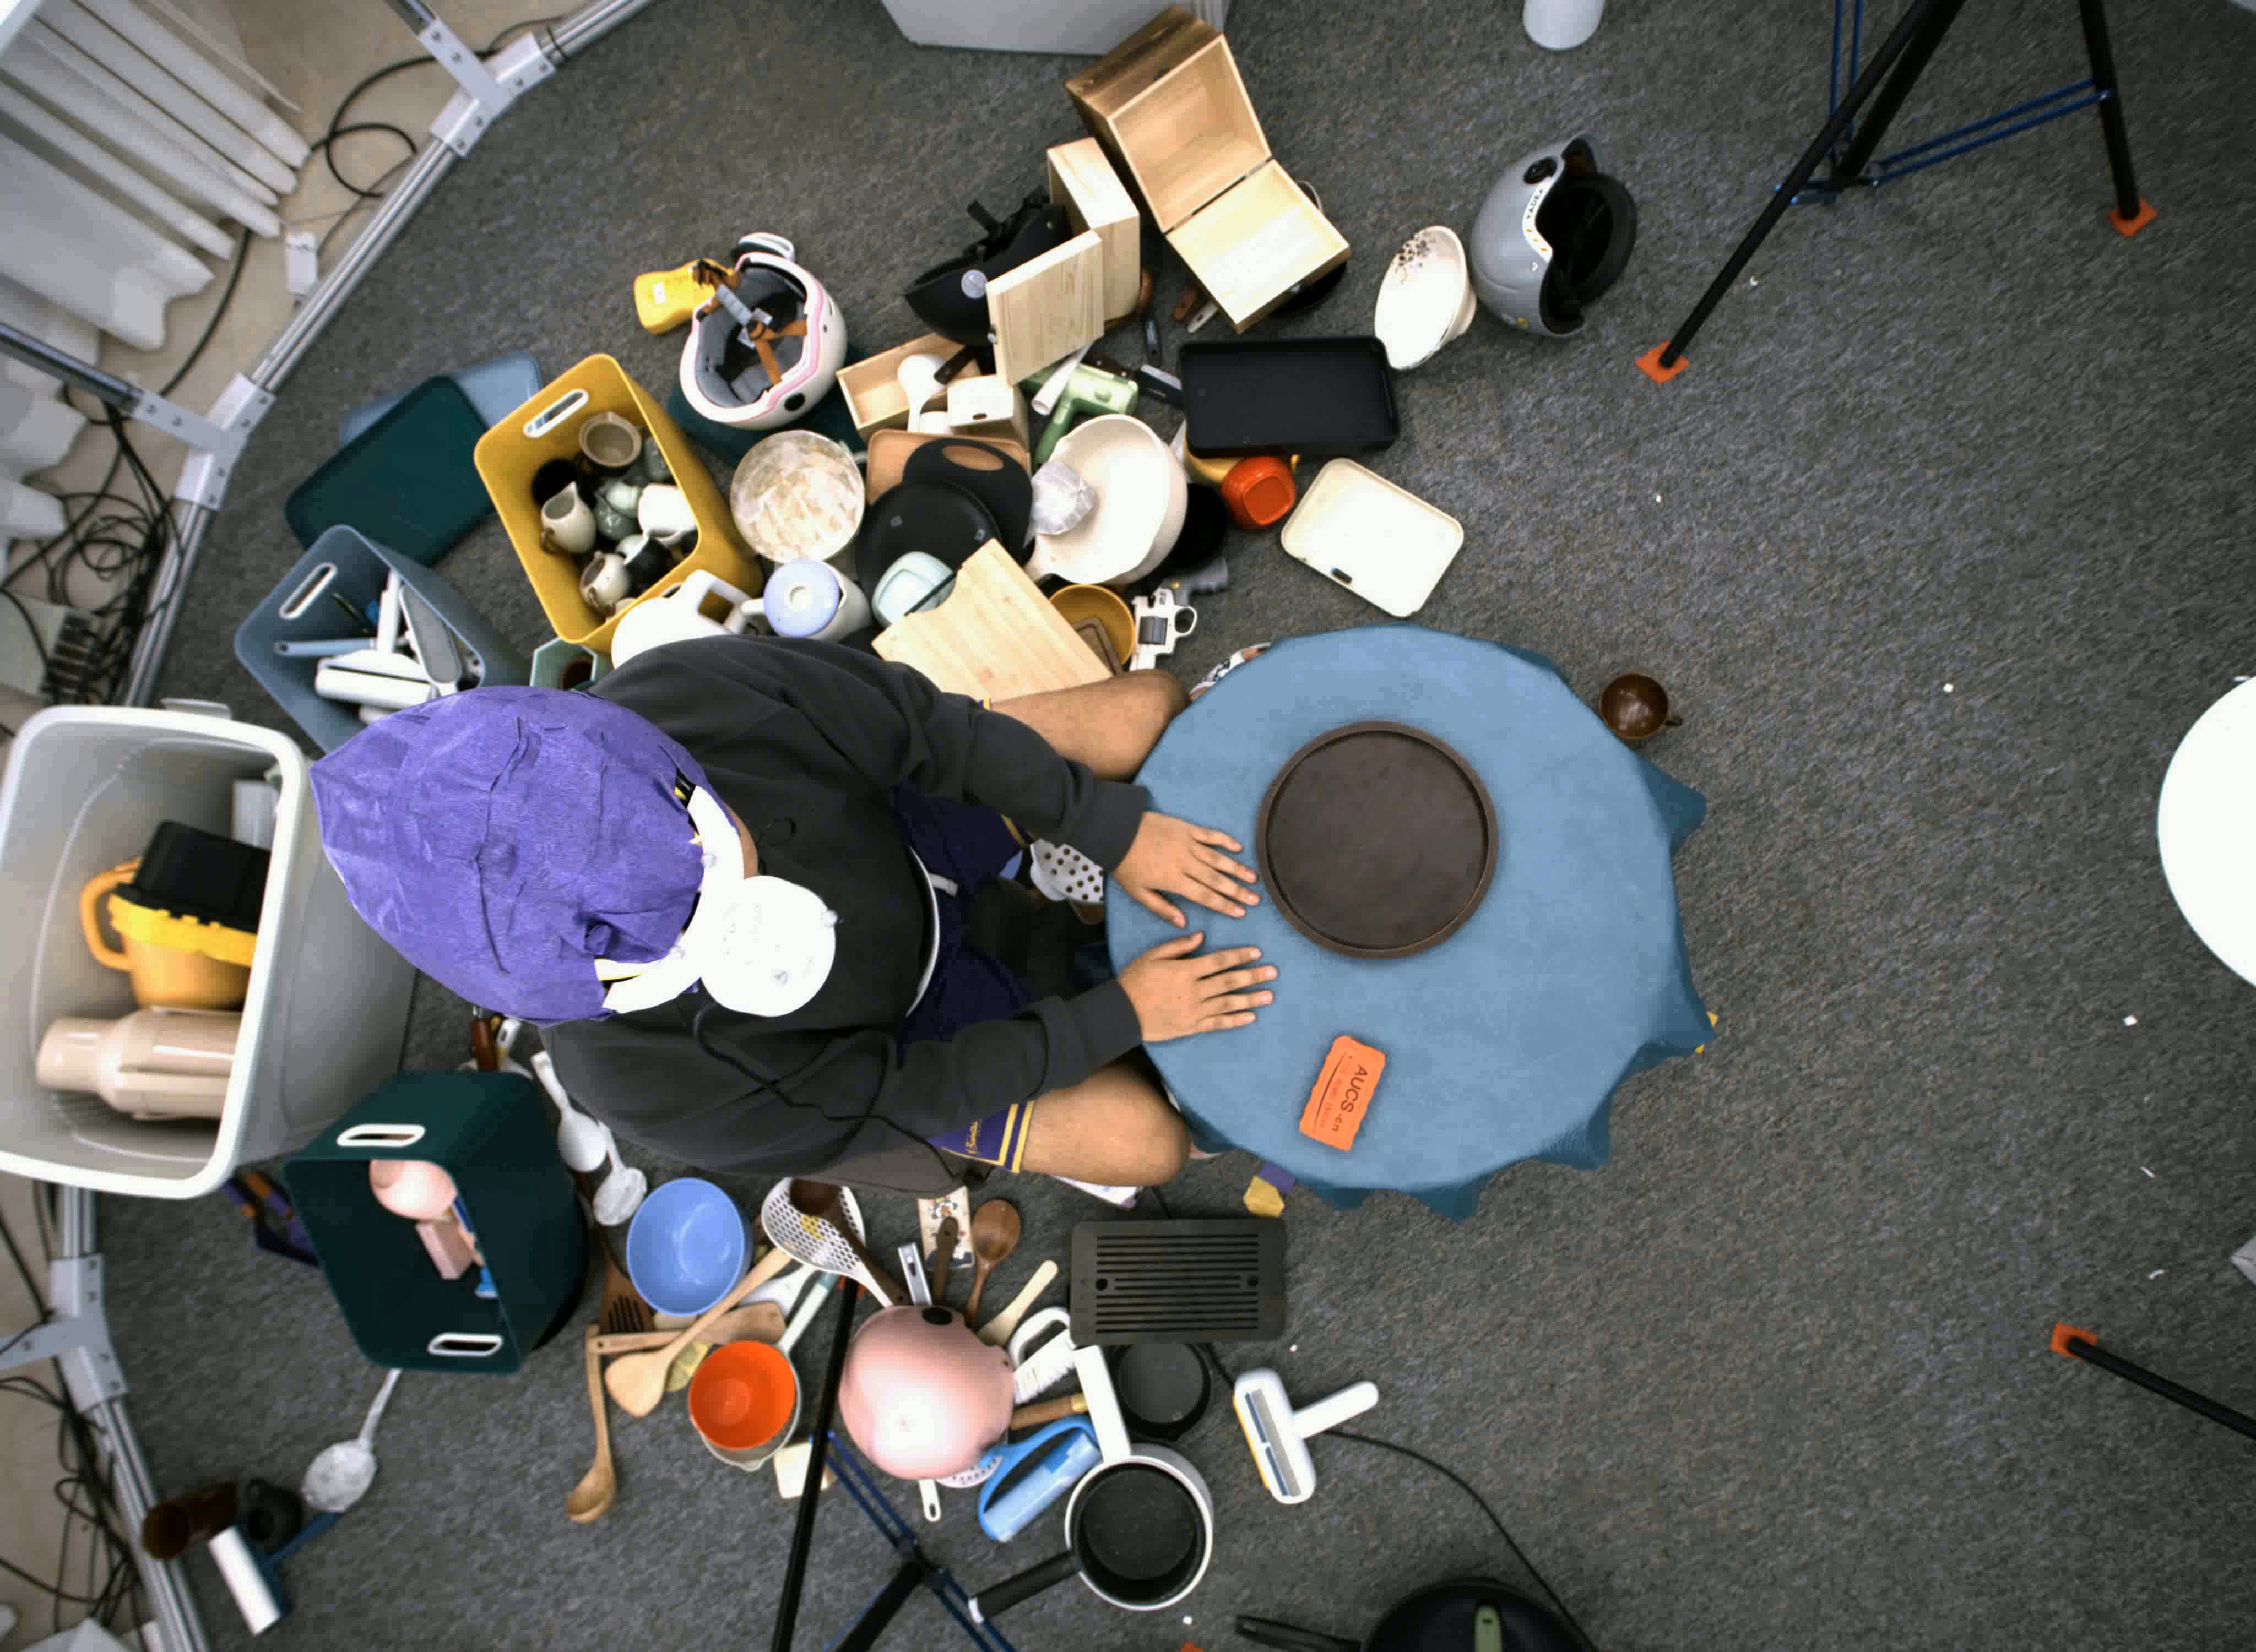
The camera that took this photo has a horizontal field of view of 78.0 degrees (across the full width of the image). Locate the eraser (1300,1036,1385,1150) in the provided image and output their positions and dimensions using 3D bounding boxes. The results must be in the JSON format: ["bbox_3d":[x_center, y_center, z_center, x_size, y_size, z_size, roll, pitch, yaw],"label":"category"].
[{"bbox_3d":[0.223,0.276,1.441,0.059,0.023,0.108,23,92,10],"label":"eraser"}]

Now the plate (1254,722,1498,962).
[{"bbox_3d":[0.260,0.015,1.453,0.256,0.029,0.254,-1,88,10],"label":"plate"}]
